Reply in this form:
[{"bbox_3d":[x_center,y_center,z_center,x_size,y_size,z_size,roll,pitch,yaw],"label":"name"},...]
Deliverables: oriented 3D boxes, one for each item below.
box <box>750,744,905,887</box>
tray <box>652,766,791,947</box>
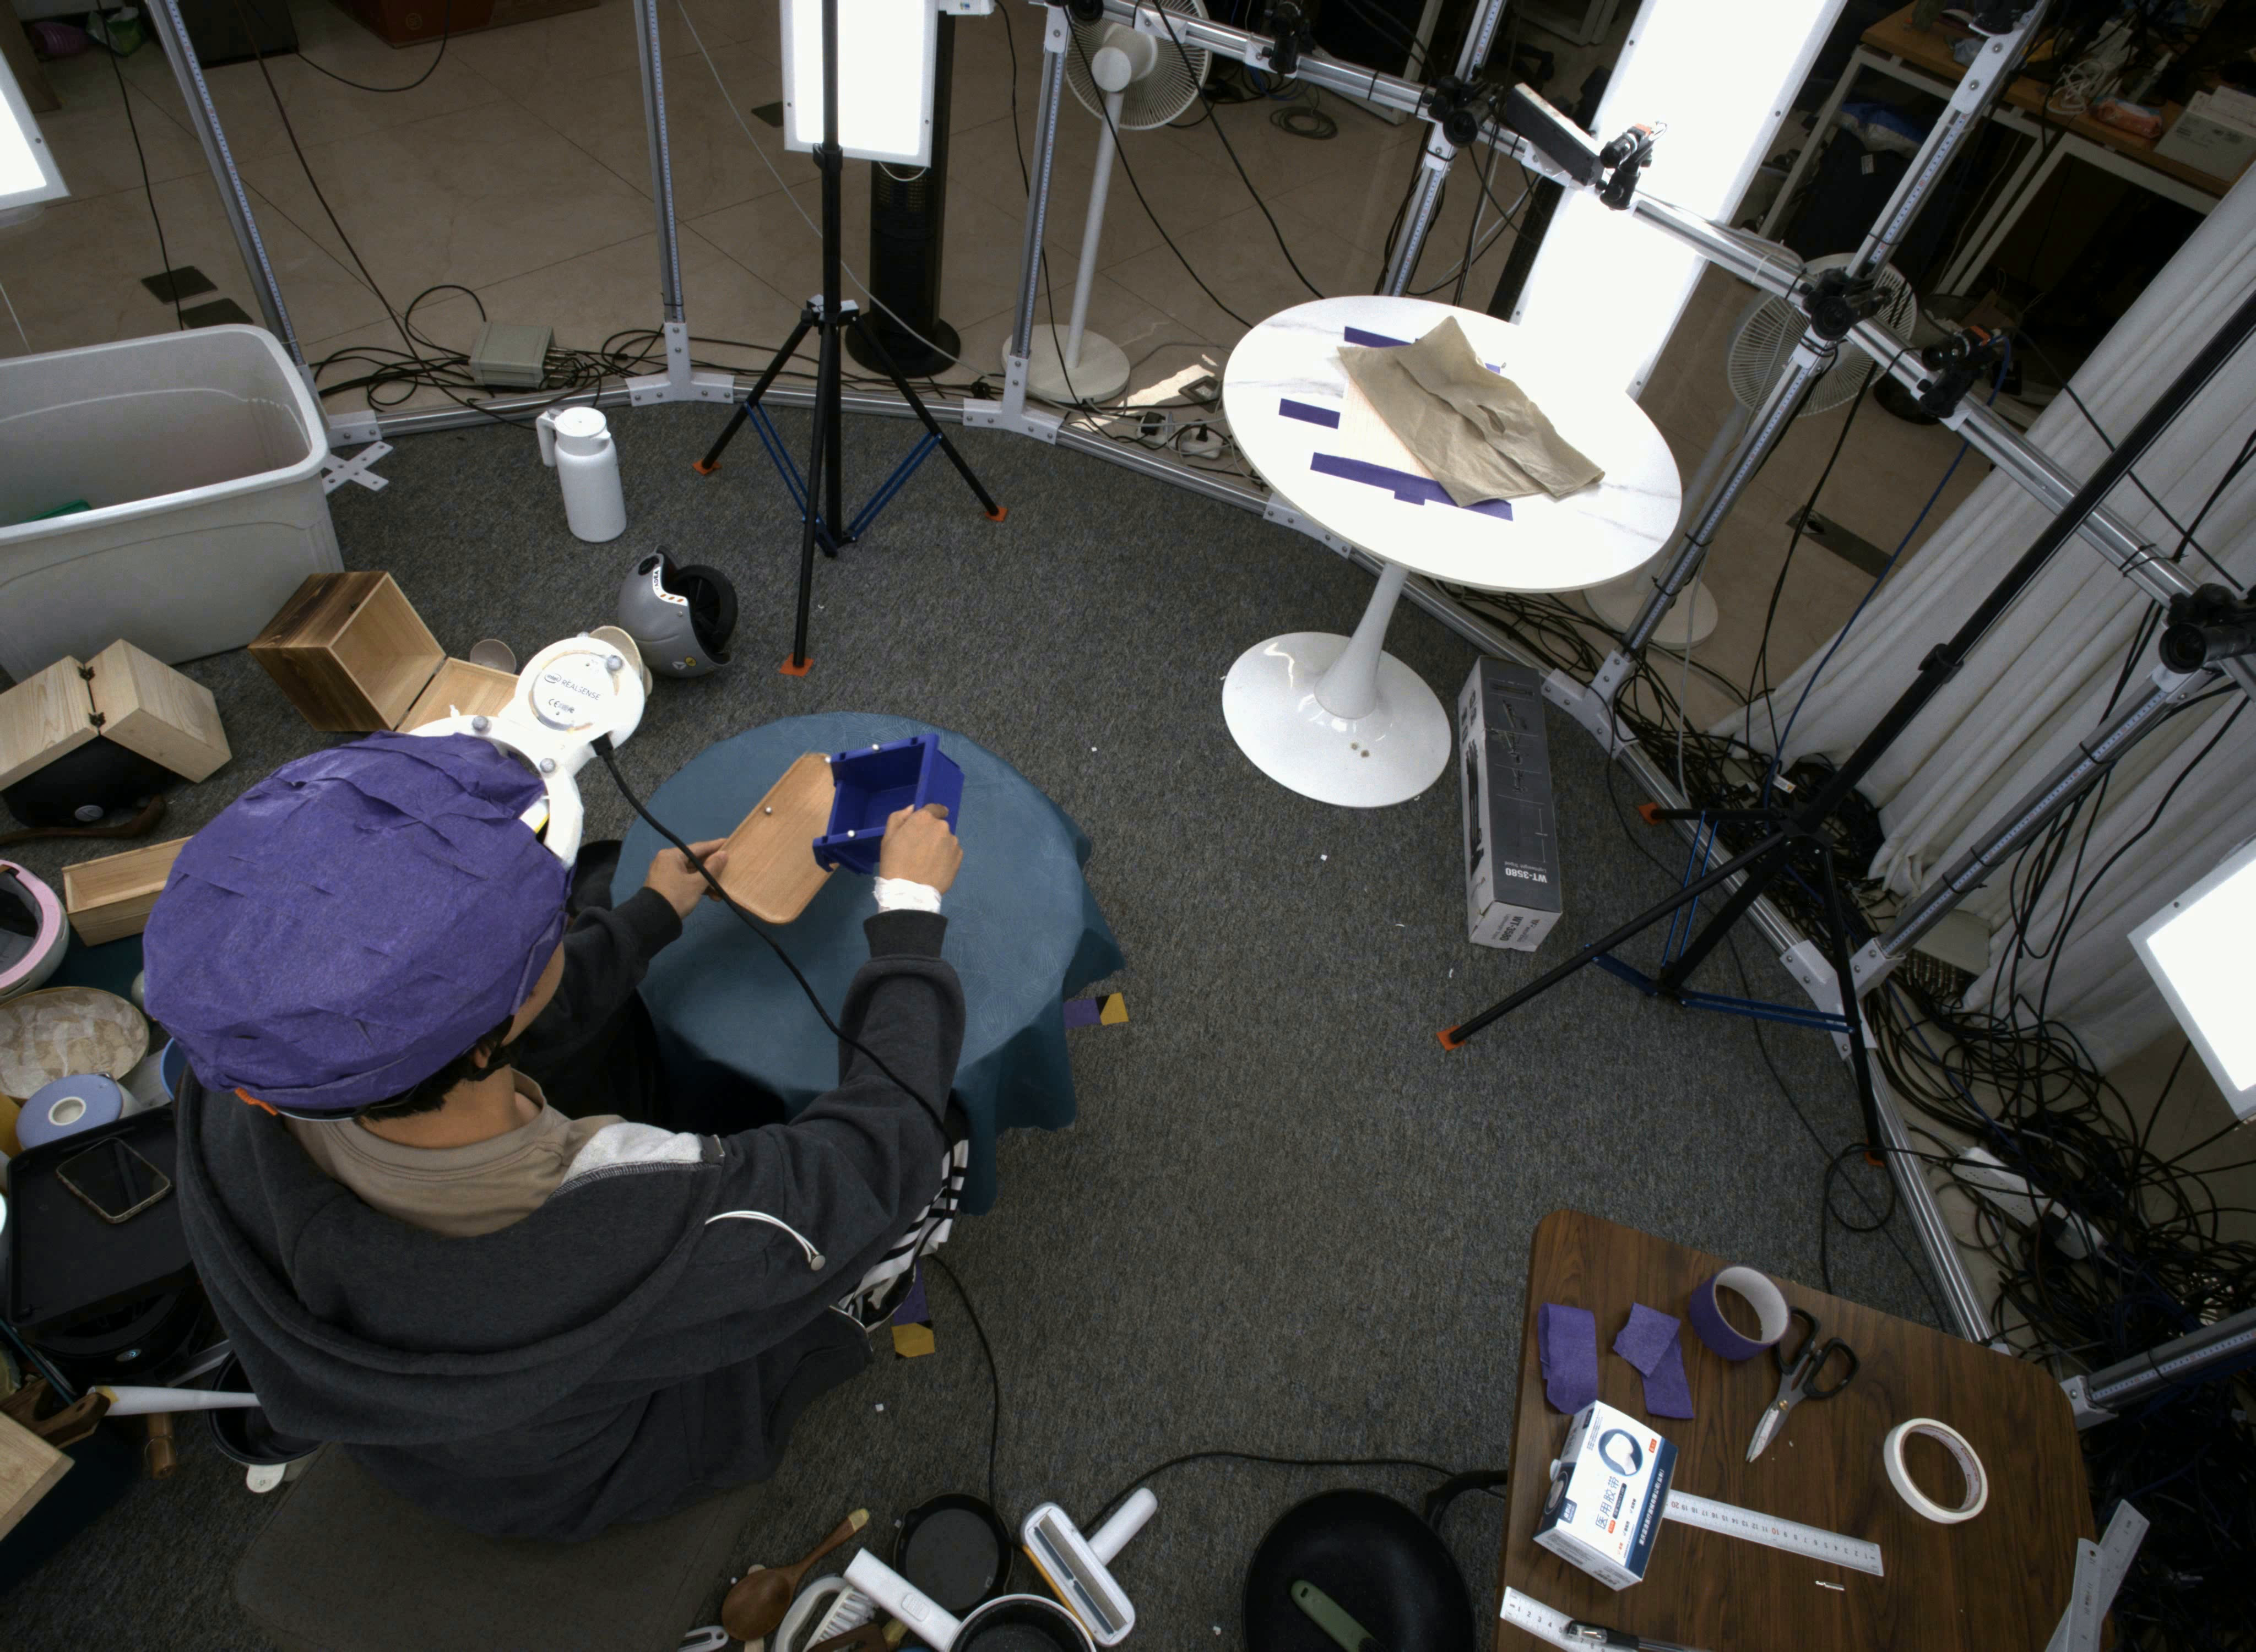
[{"bbox_3d":[-0.342,-0.007,1.455,0.175,0.085,0.123,-6,64,22],"label":"box"},{"bbox_3d":[-0.464,0.032,1.571,0.129,0.023,0.249,27,52,0],"label":"tray"}]
